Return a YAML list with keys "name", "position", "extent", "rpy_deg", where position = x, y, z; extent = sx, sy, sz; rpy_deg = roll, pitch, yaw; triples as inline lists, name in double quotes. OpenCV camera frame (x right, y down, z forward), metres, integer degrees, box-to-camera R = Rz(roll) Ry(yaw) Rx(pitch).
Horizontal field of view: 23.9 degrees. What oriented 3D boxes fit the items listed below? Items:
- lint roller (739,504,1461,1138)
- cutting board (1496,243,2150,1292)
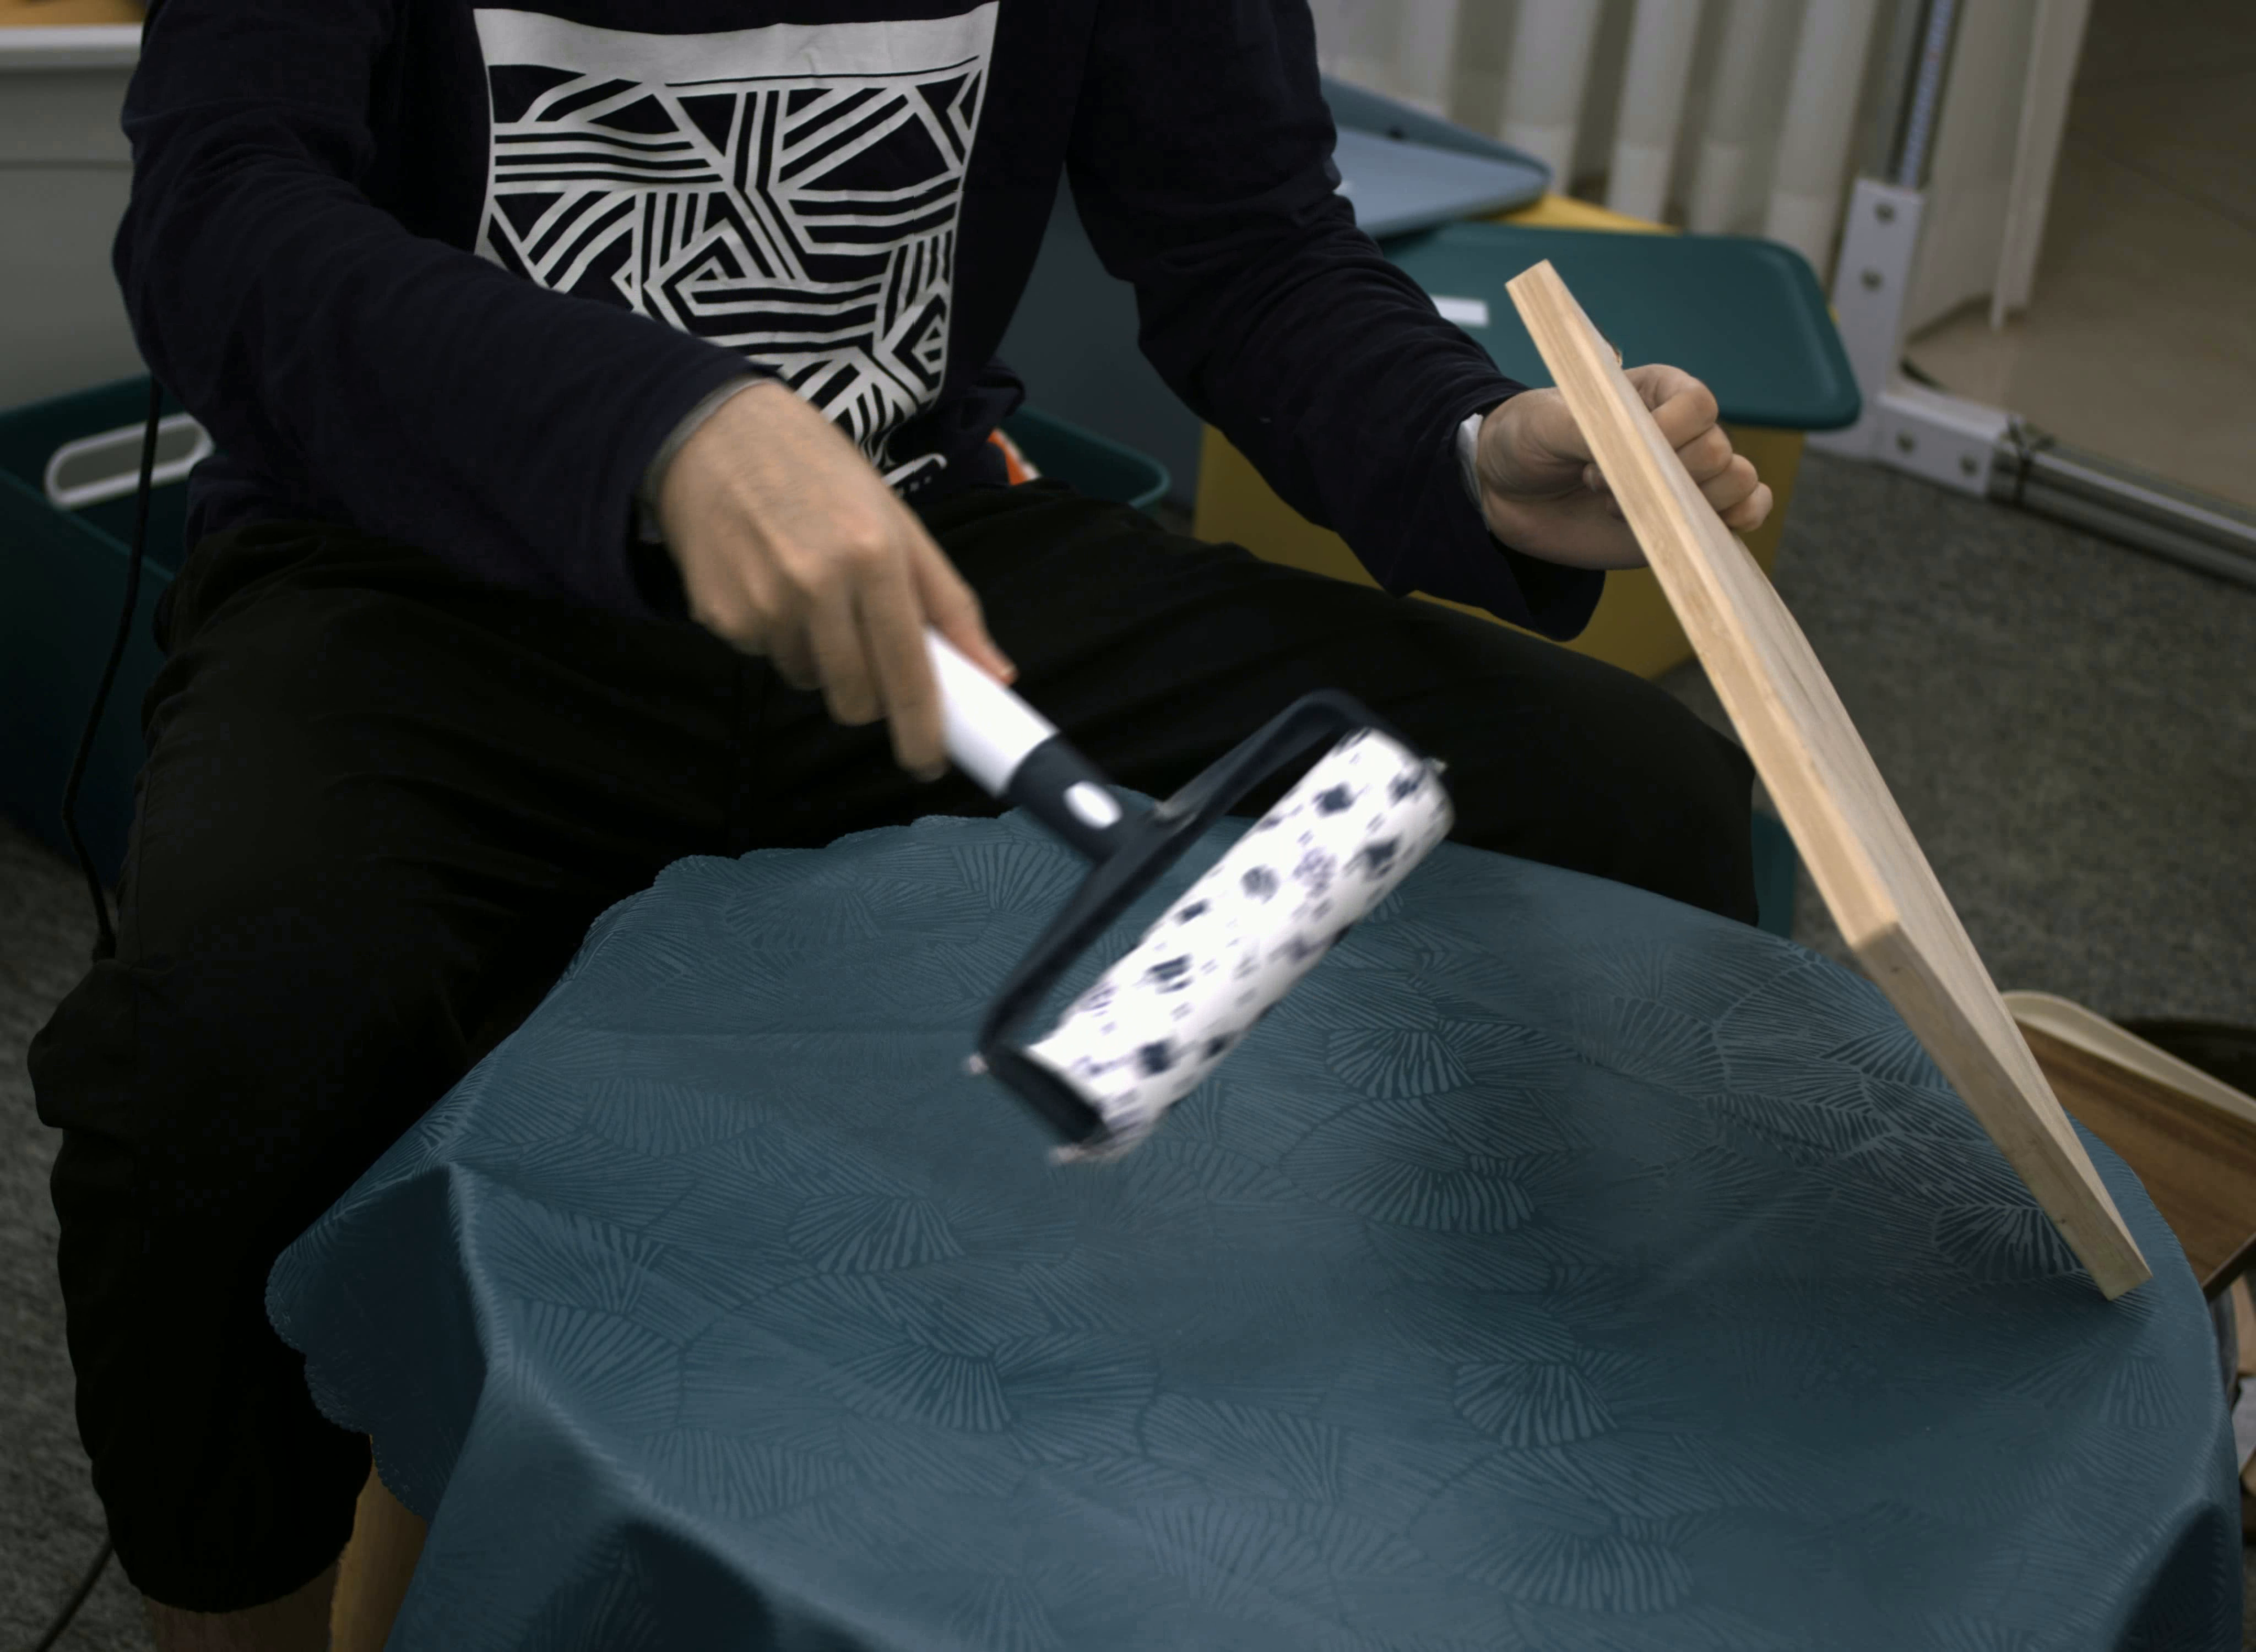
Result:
- name: "lint roller"
  position: [-0.035, -0.030, 1.763]
  extent: [0.248, 0.050, 0.176]
  rpy_deg: [38, 71, 14]
- name: "cutting board"
  position: [0.237, -0.023, 1.843]
  extent: [0.023, 0.248, 0.352]
  rpy_deg: [-31, 46, 10]
